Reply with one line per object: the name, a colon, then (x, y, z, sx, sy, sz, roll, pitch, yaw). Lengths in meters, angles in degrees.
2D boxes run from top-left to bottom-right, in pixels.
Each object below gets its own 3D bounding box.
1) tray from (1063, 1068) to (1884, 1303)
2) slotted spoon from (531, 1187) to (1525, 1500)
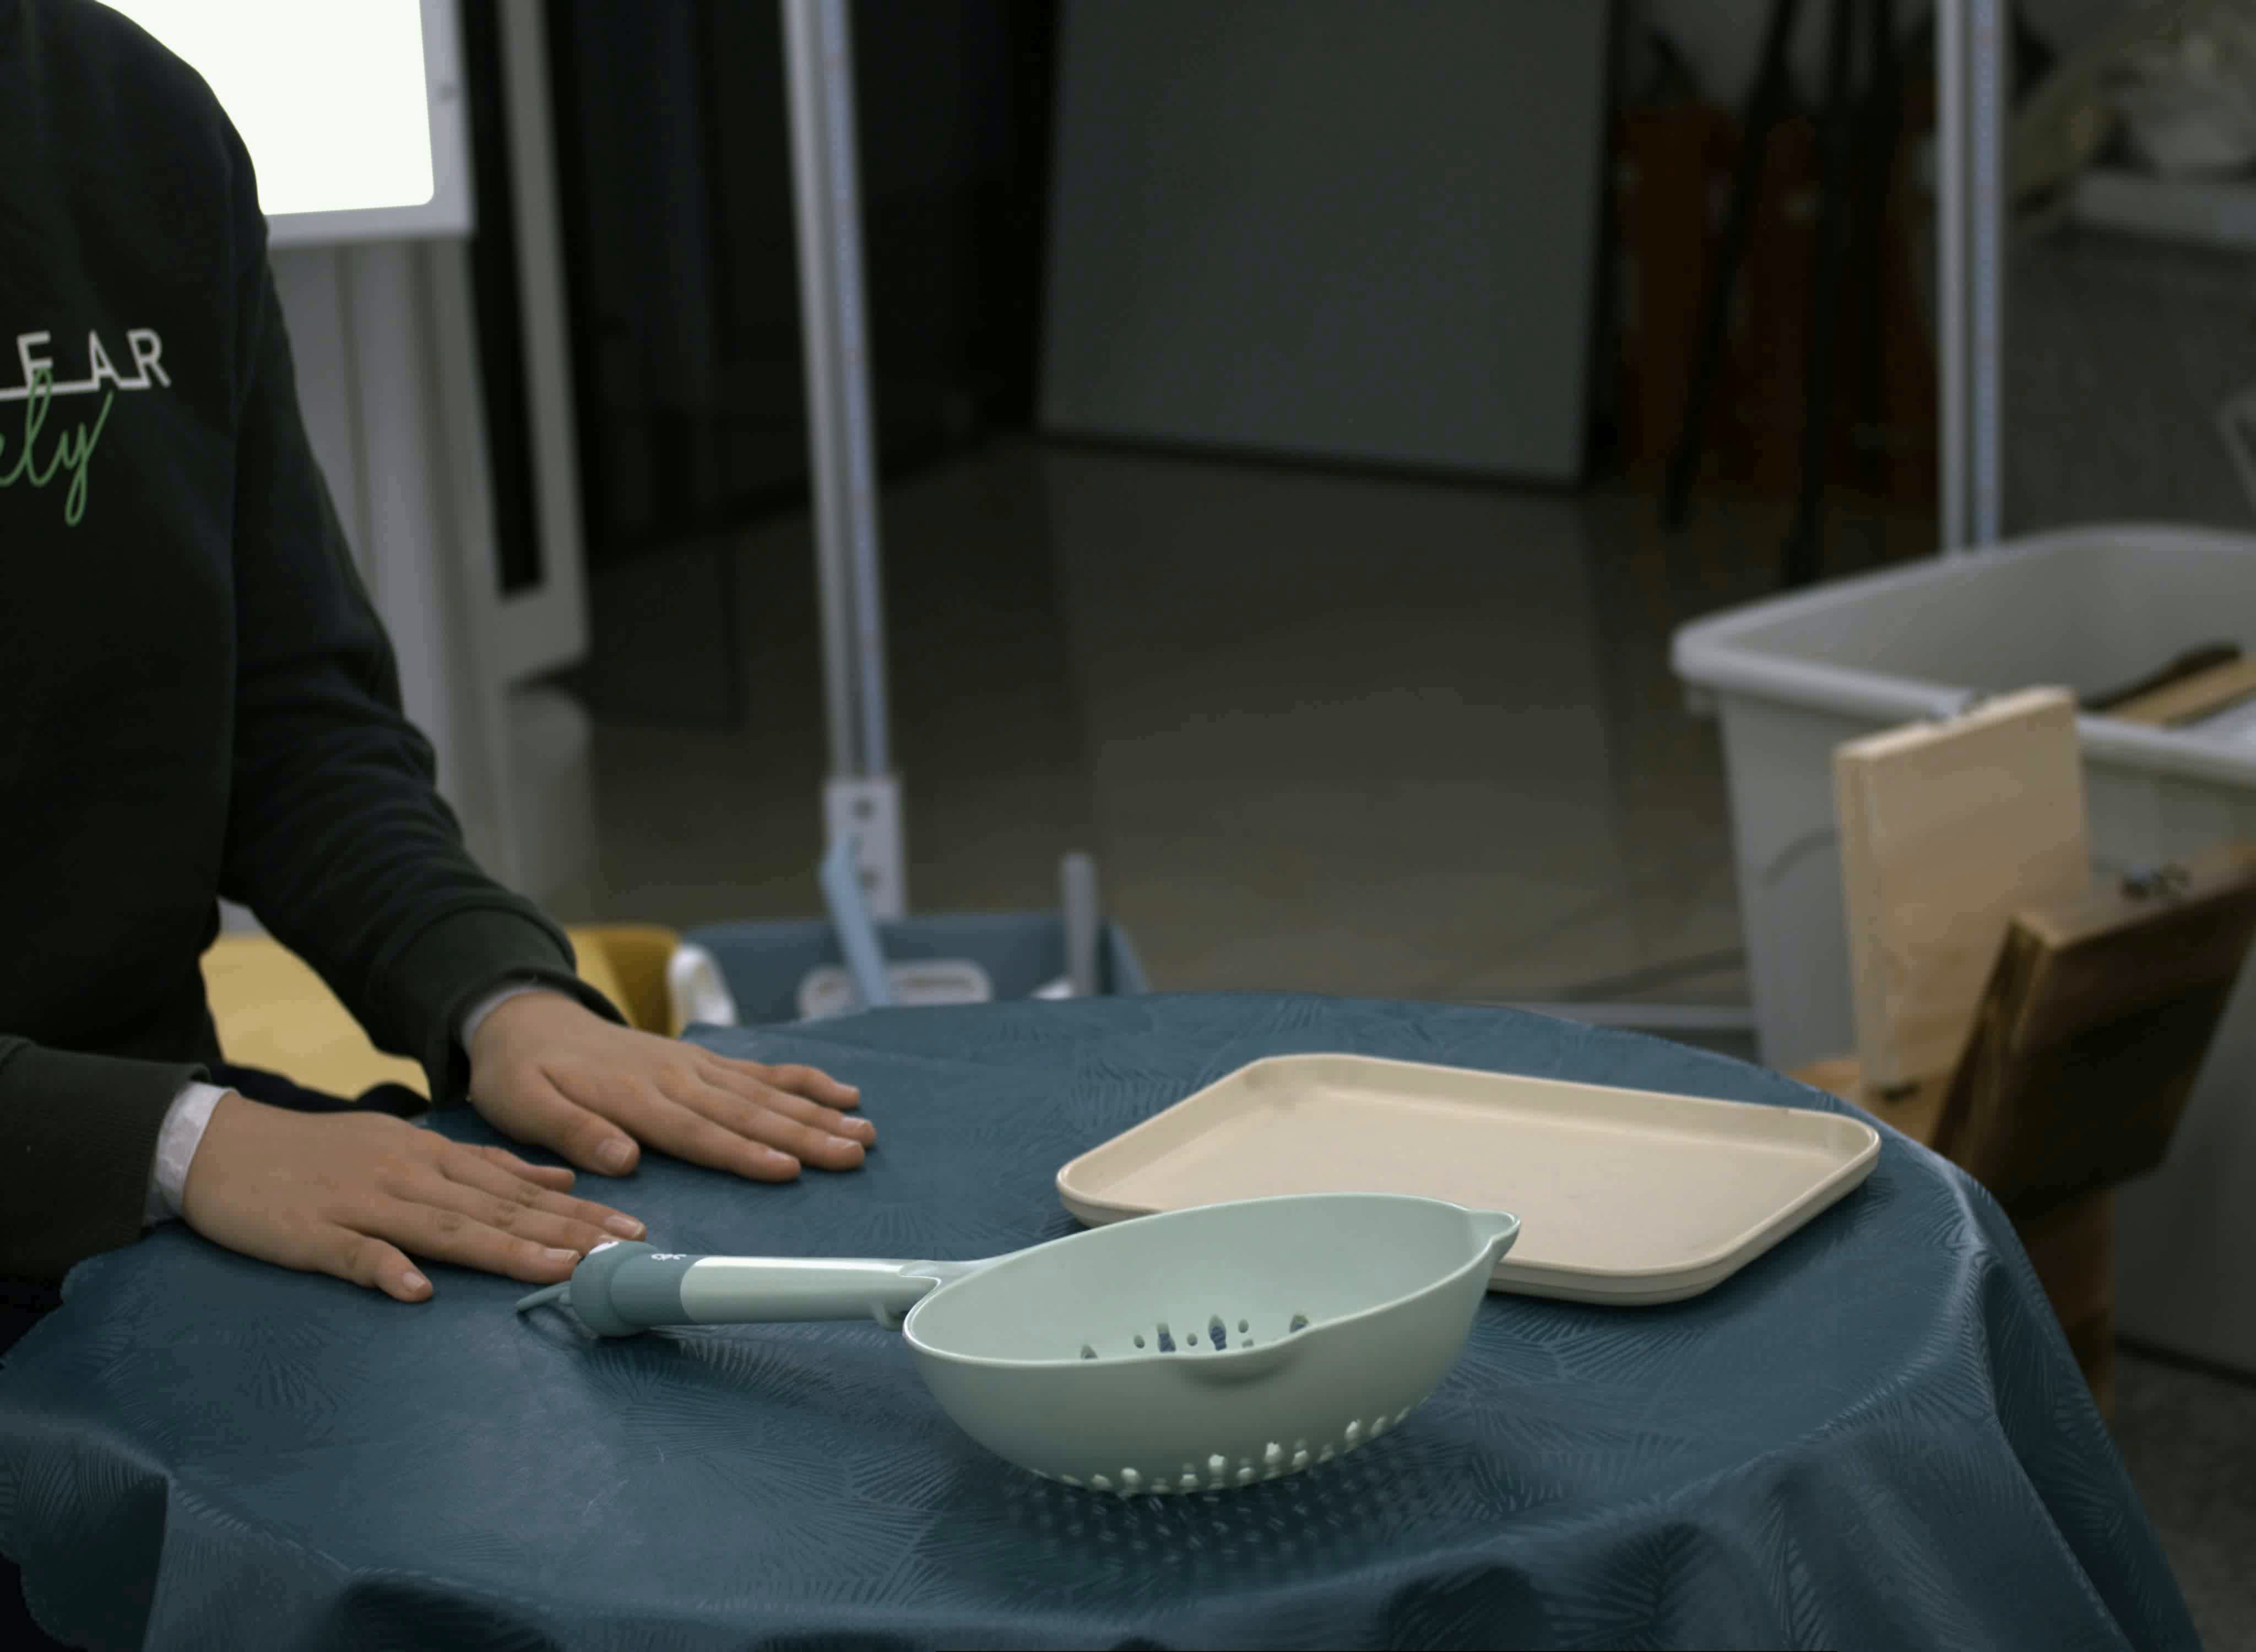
tray: (0.111, 0.115, 1.731, 0.241, 0.017, 0.168, 4, 16, 32)
slotted spoon: (-0.050, 0.141, 1.573, 0.362, 0.076, 0.166, 7, 17, 40)
